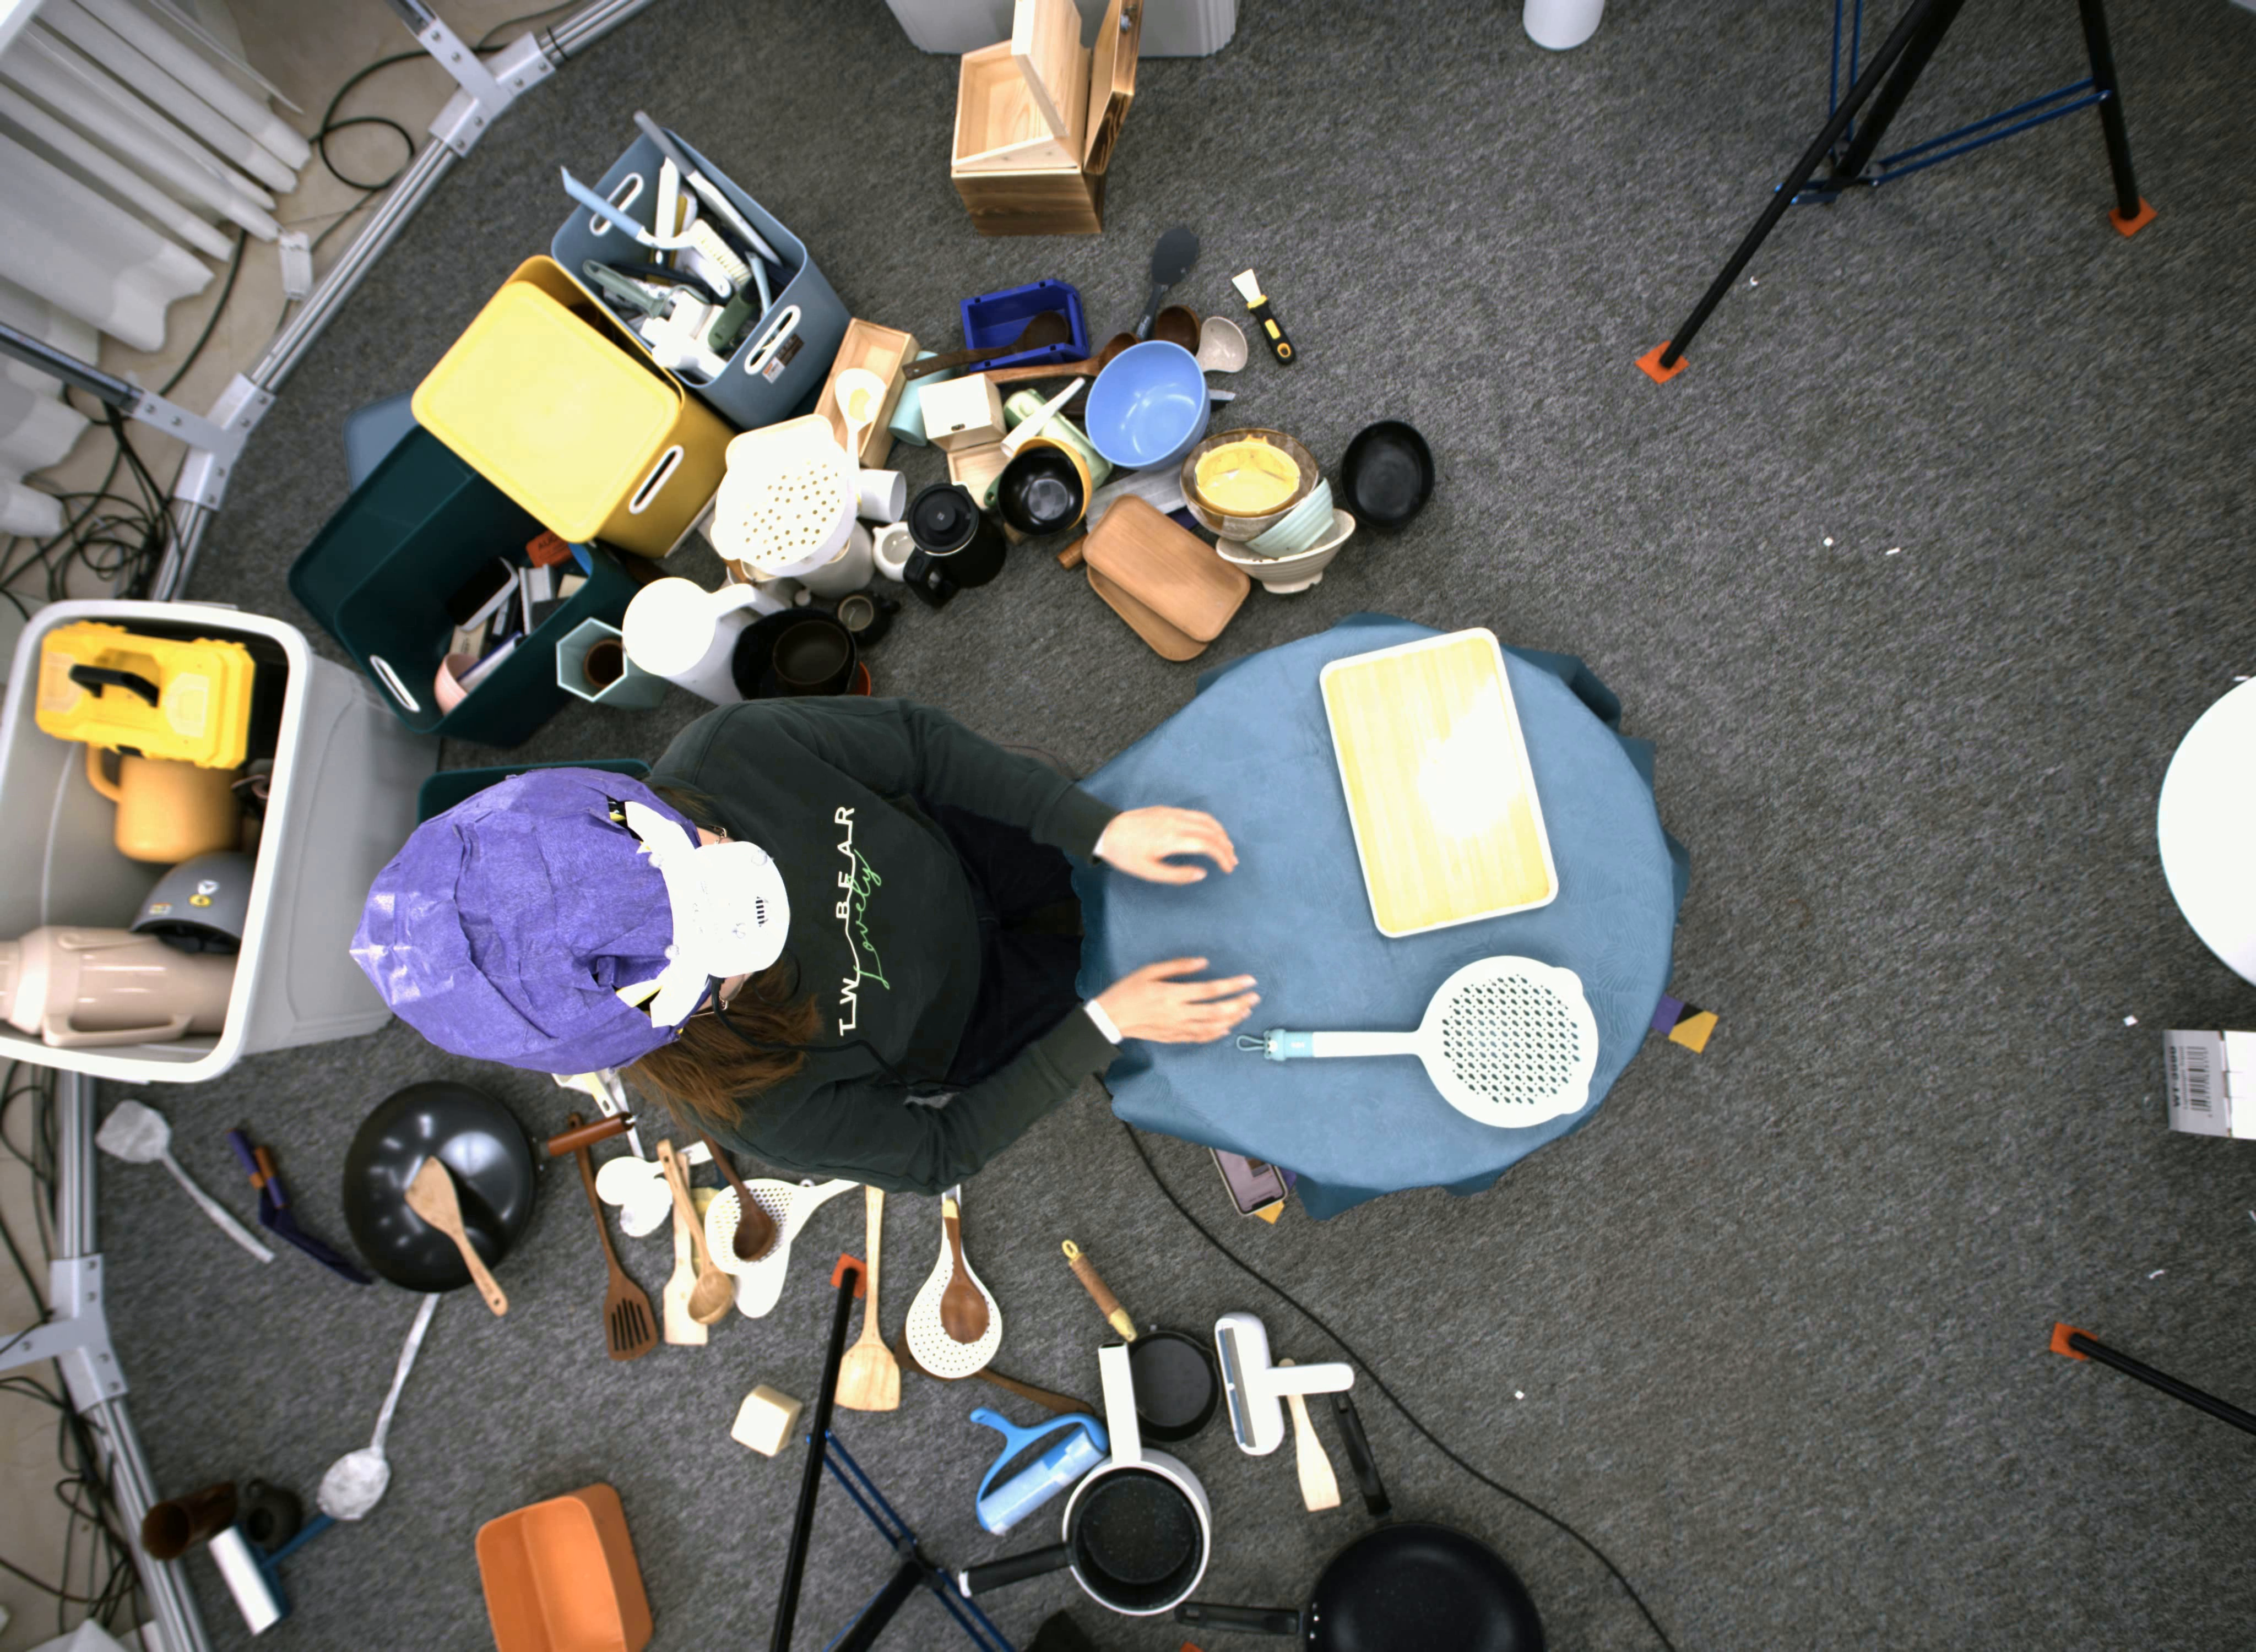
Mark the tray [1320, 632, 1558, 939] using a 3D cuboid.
[{"bbox_3d":[0.325,-0.044,1.449,0.192,0.027,0.298,-13,84,9],"label":"tray"}]

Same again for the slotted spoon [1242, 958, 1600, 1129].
[{"bbox_3d":[0.293,0.222,1.418,0.360,0.075,0.168,-3,84,10],"label":"slotted spoon"}]
